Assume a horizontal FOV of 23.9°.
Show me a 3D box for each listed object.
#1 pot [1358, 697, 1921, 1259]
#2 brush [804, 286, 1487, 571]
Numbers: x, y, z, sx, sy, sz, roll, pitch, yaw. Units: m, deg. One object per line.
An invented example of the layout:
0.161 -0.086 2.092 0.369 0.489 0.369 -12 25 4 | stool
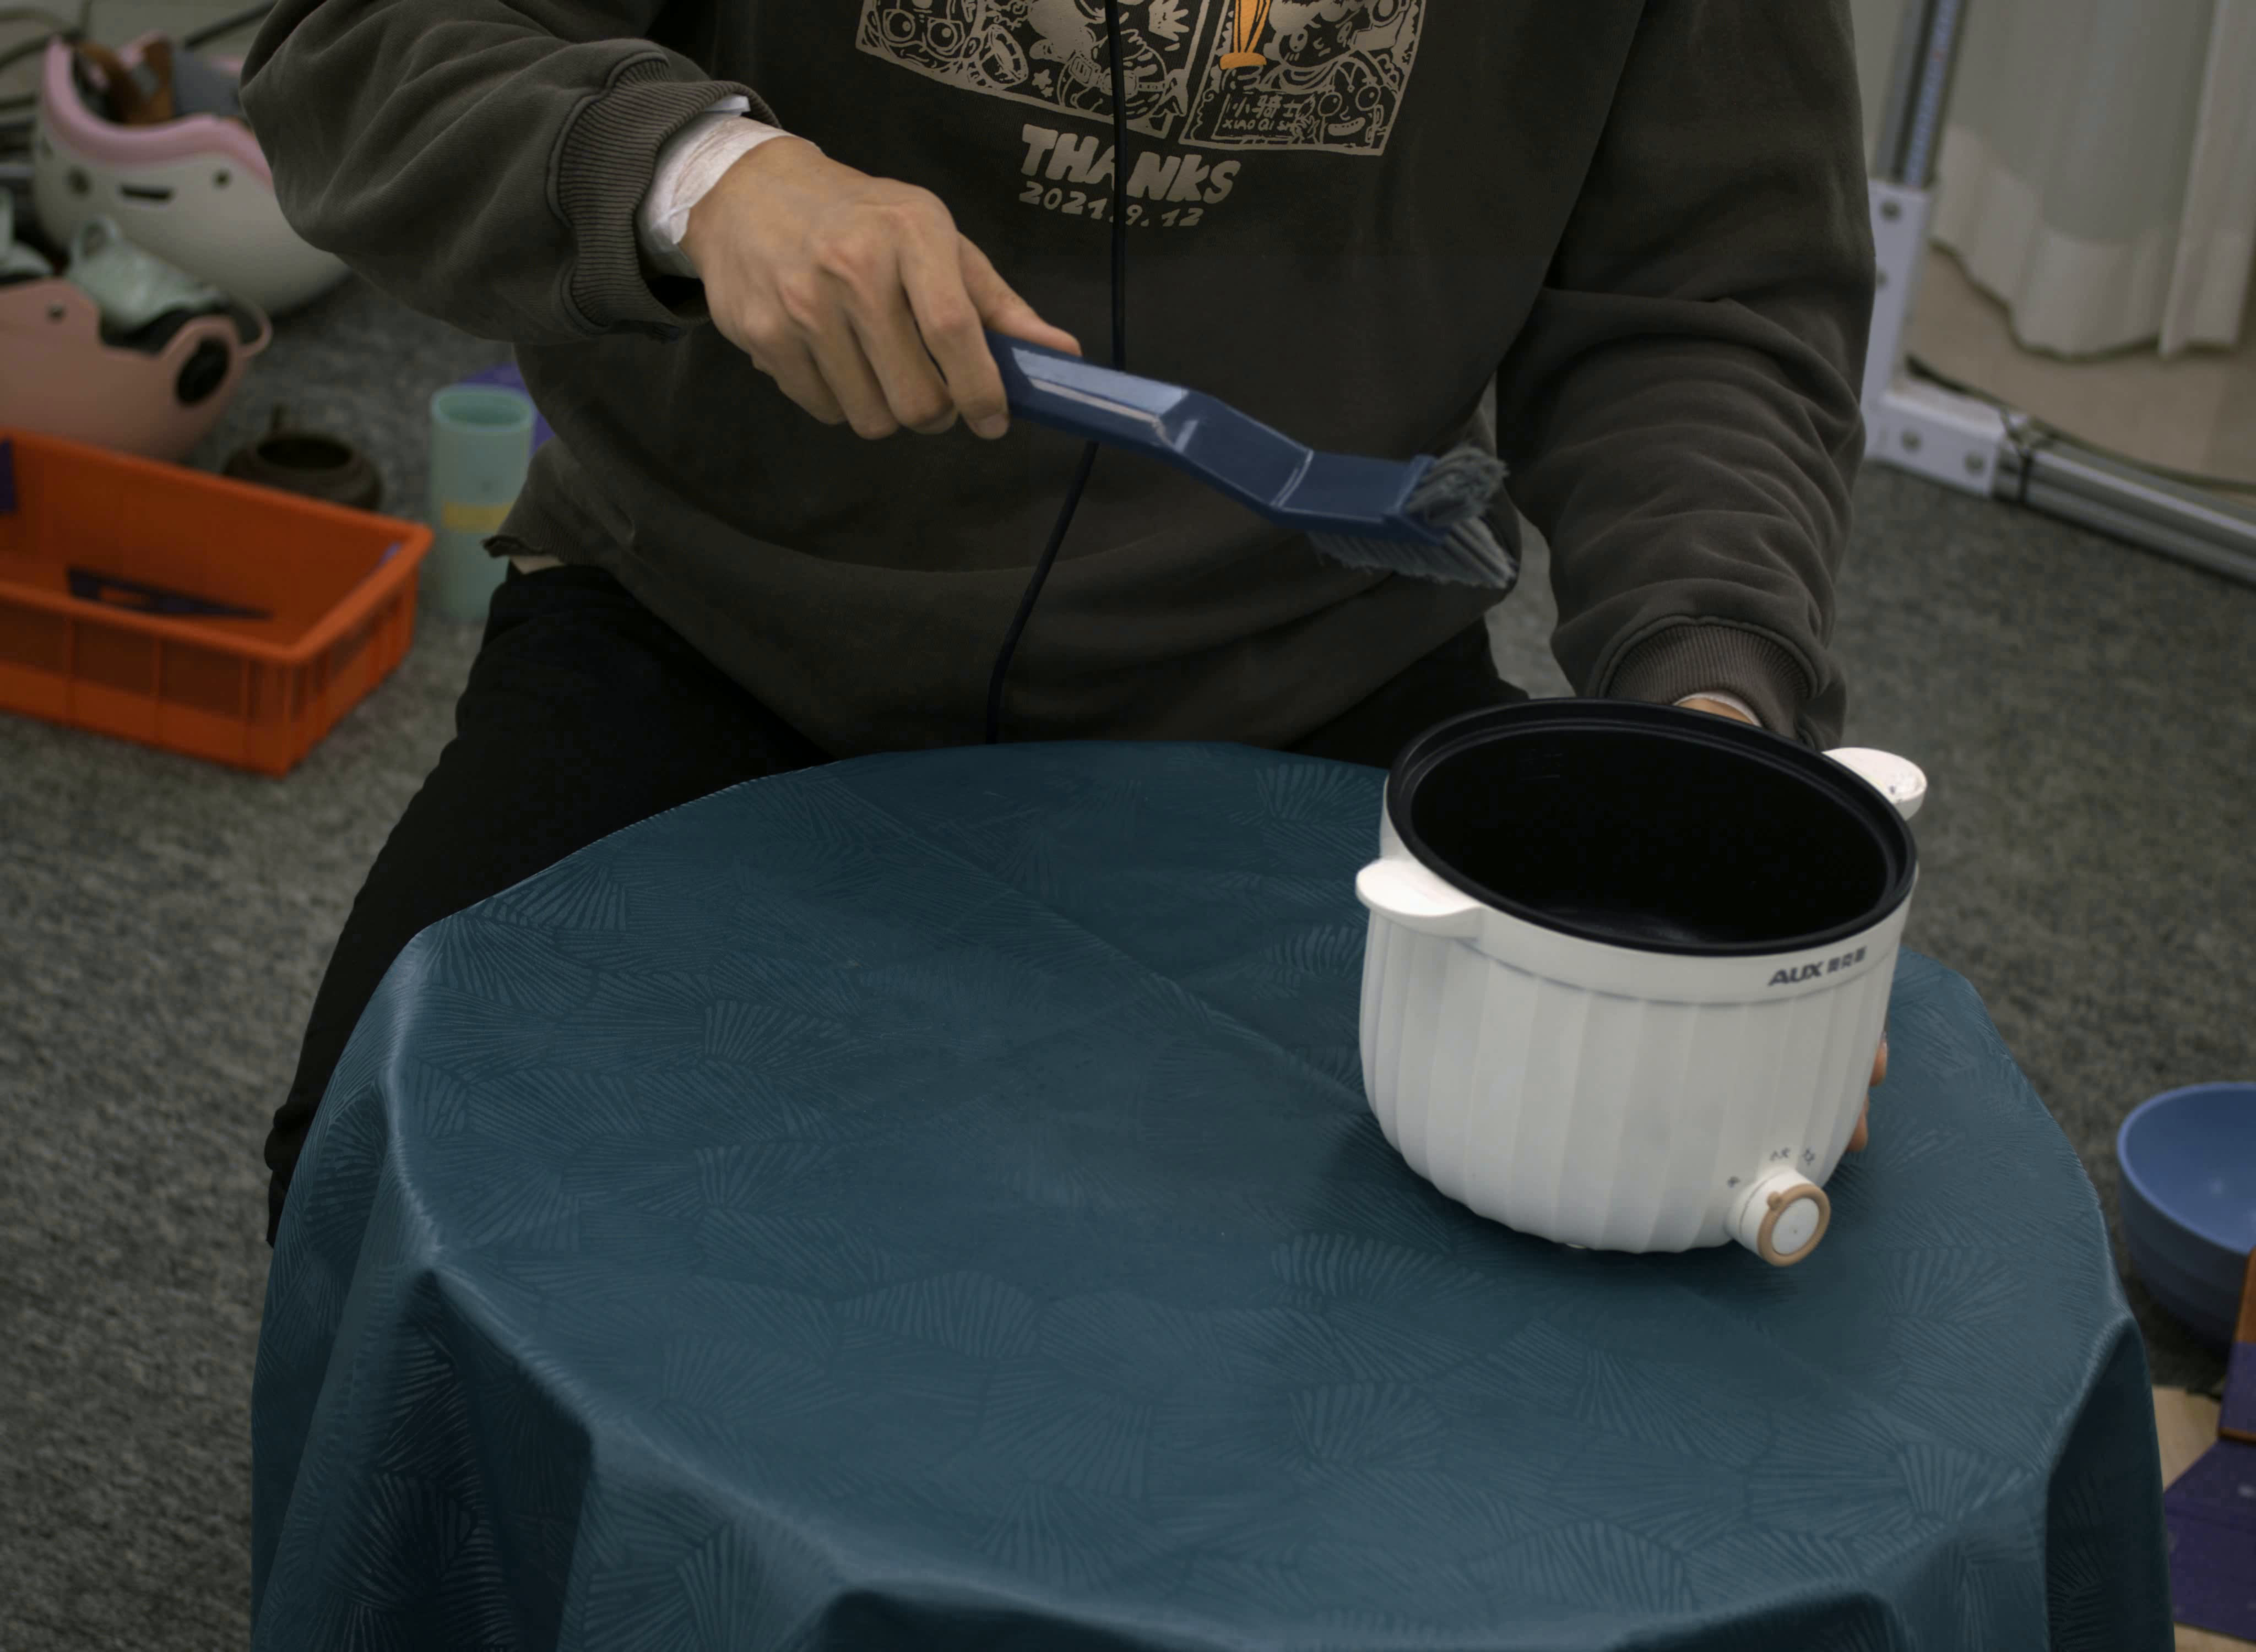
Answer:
0.175 0.057 1.820 0.239 0.142 0.192 -14 29 -33 | pot
0.000 -0.140 1.750 0.274 0.095 0.033 22 72 26 | brush
